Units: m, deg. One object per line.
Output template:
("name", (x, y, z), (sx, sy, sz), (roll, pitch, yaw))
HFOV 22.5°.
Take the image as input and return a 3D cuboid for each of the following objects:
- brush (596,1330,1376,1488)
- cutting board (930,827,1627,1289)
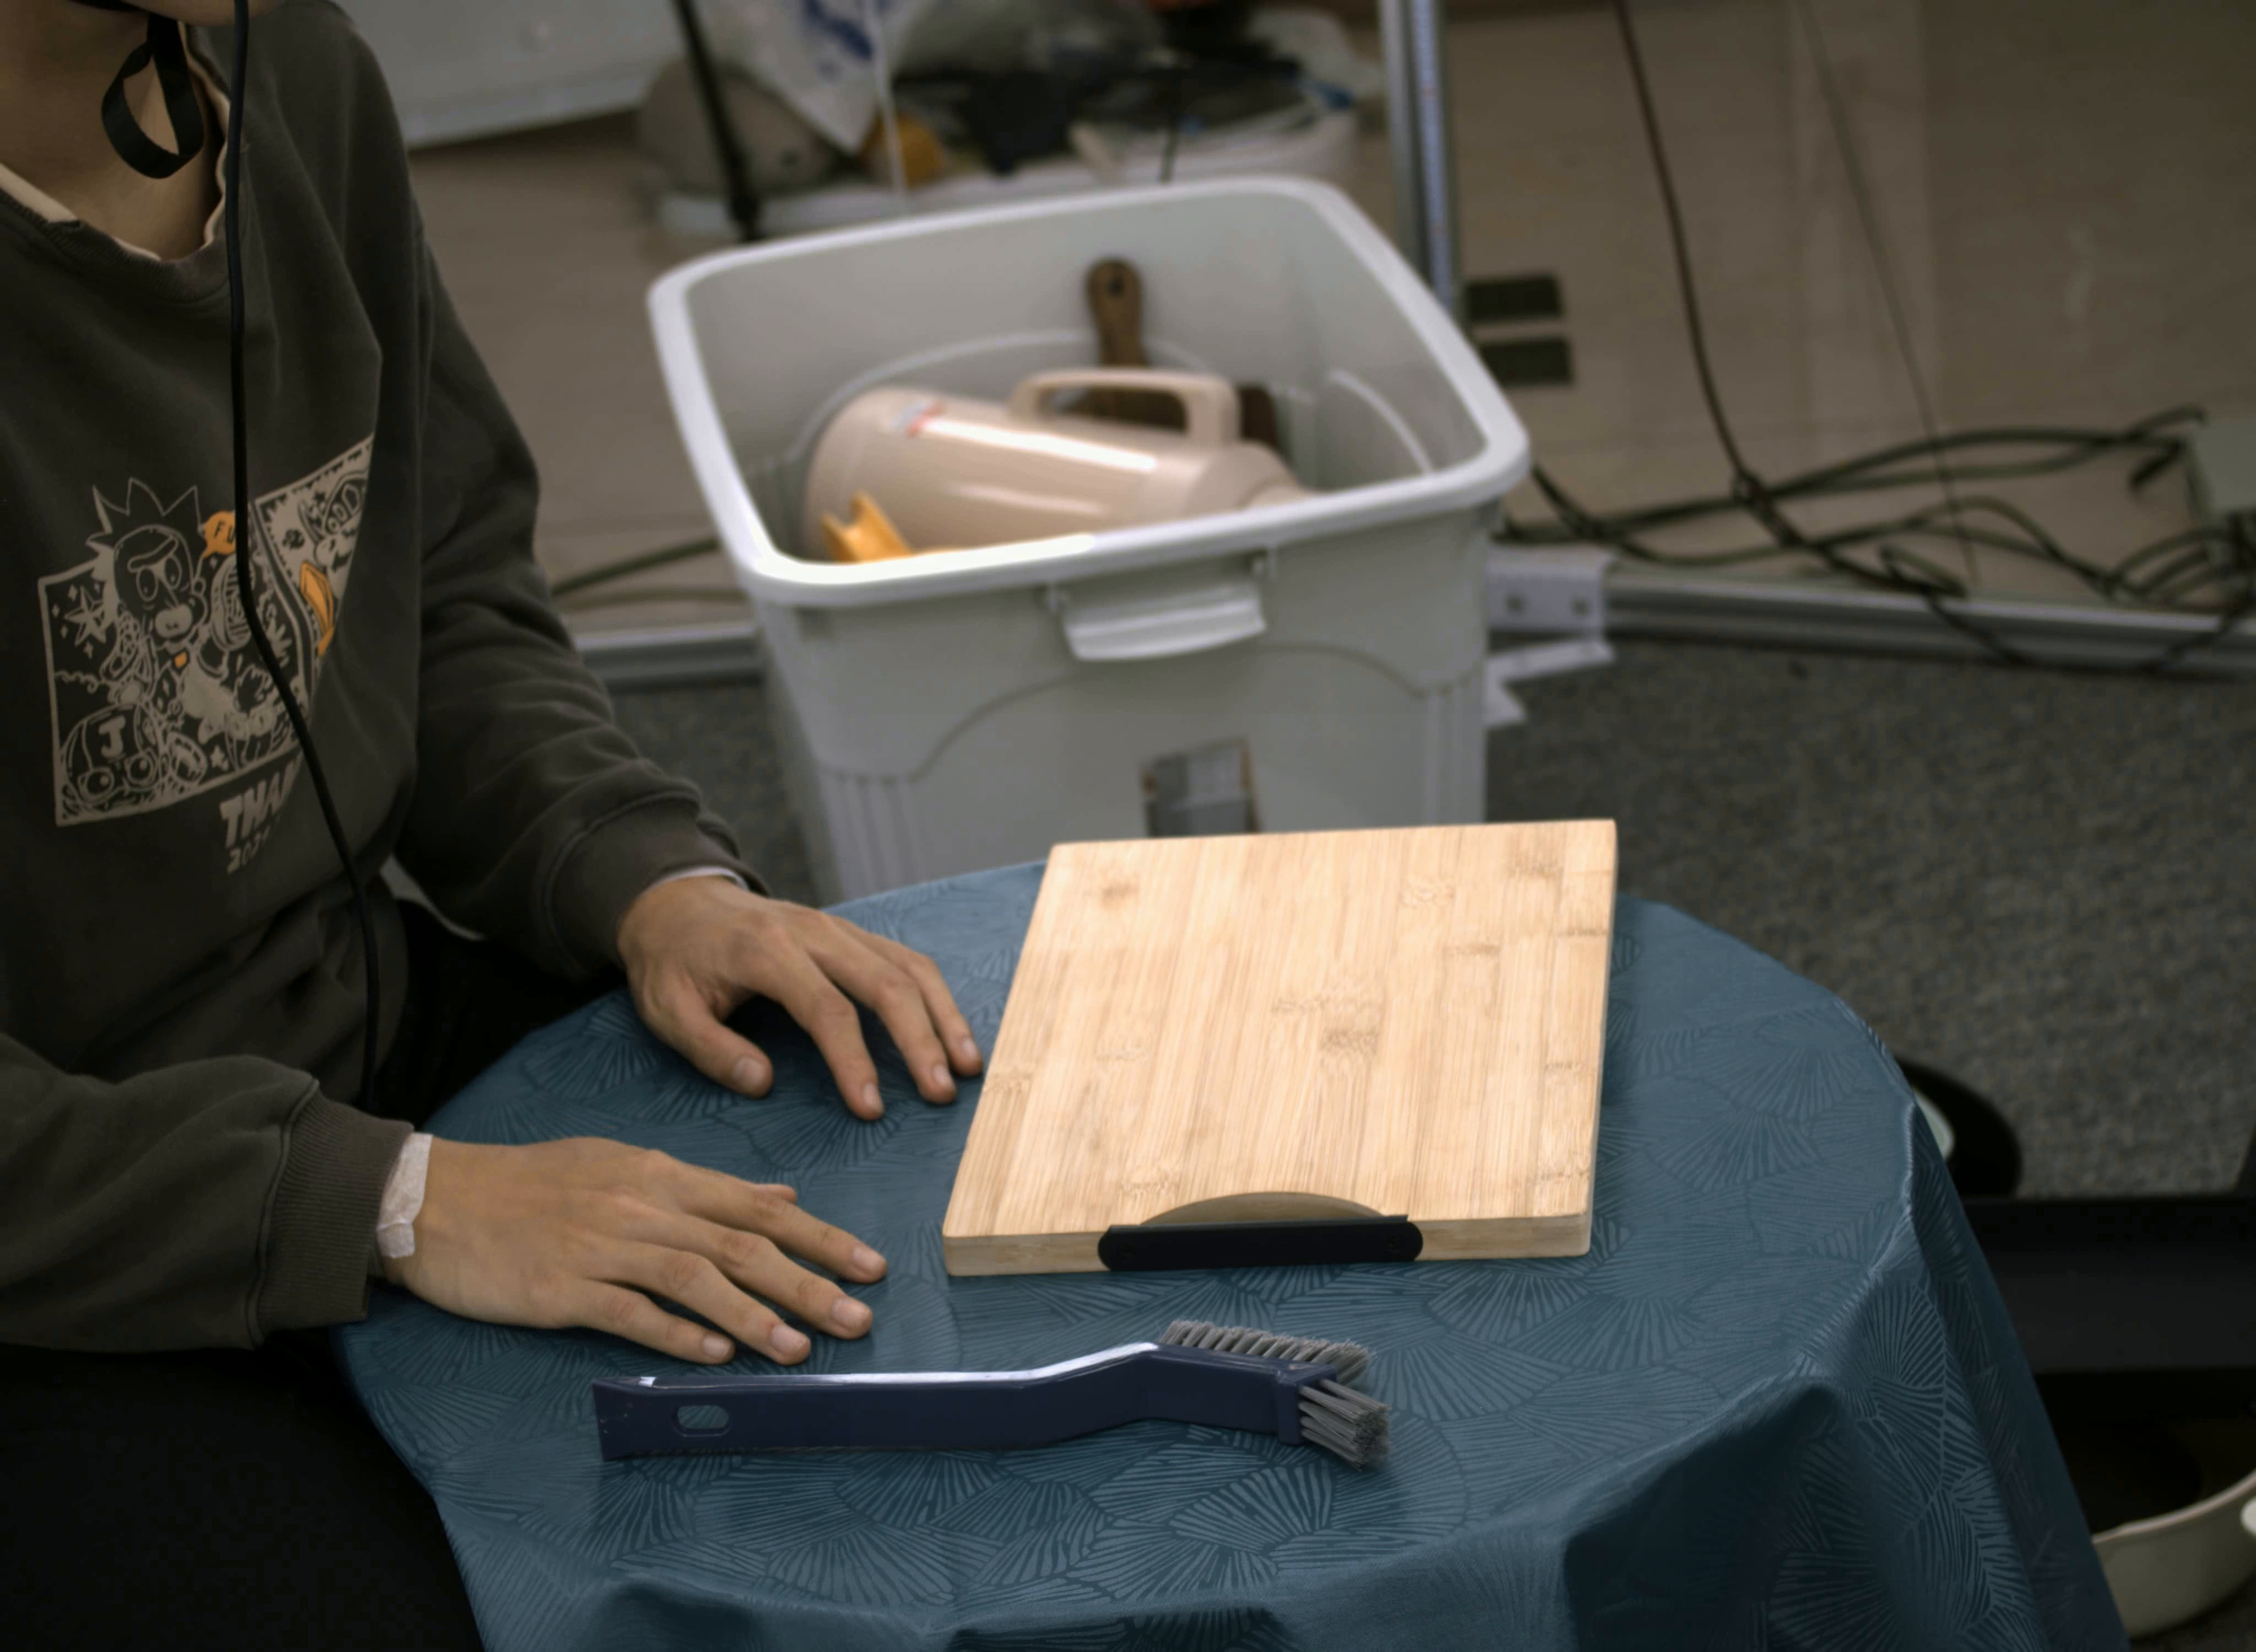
("brush", (-0.052, 0.205, 1.981), (0.273, 0.034, 0.094), (-5, 25, 2))
("cutting board", (0.067, 0.085, 2.225), (0.250, 0.024, 0.343), (-4, 25, 8))
